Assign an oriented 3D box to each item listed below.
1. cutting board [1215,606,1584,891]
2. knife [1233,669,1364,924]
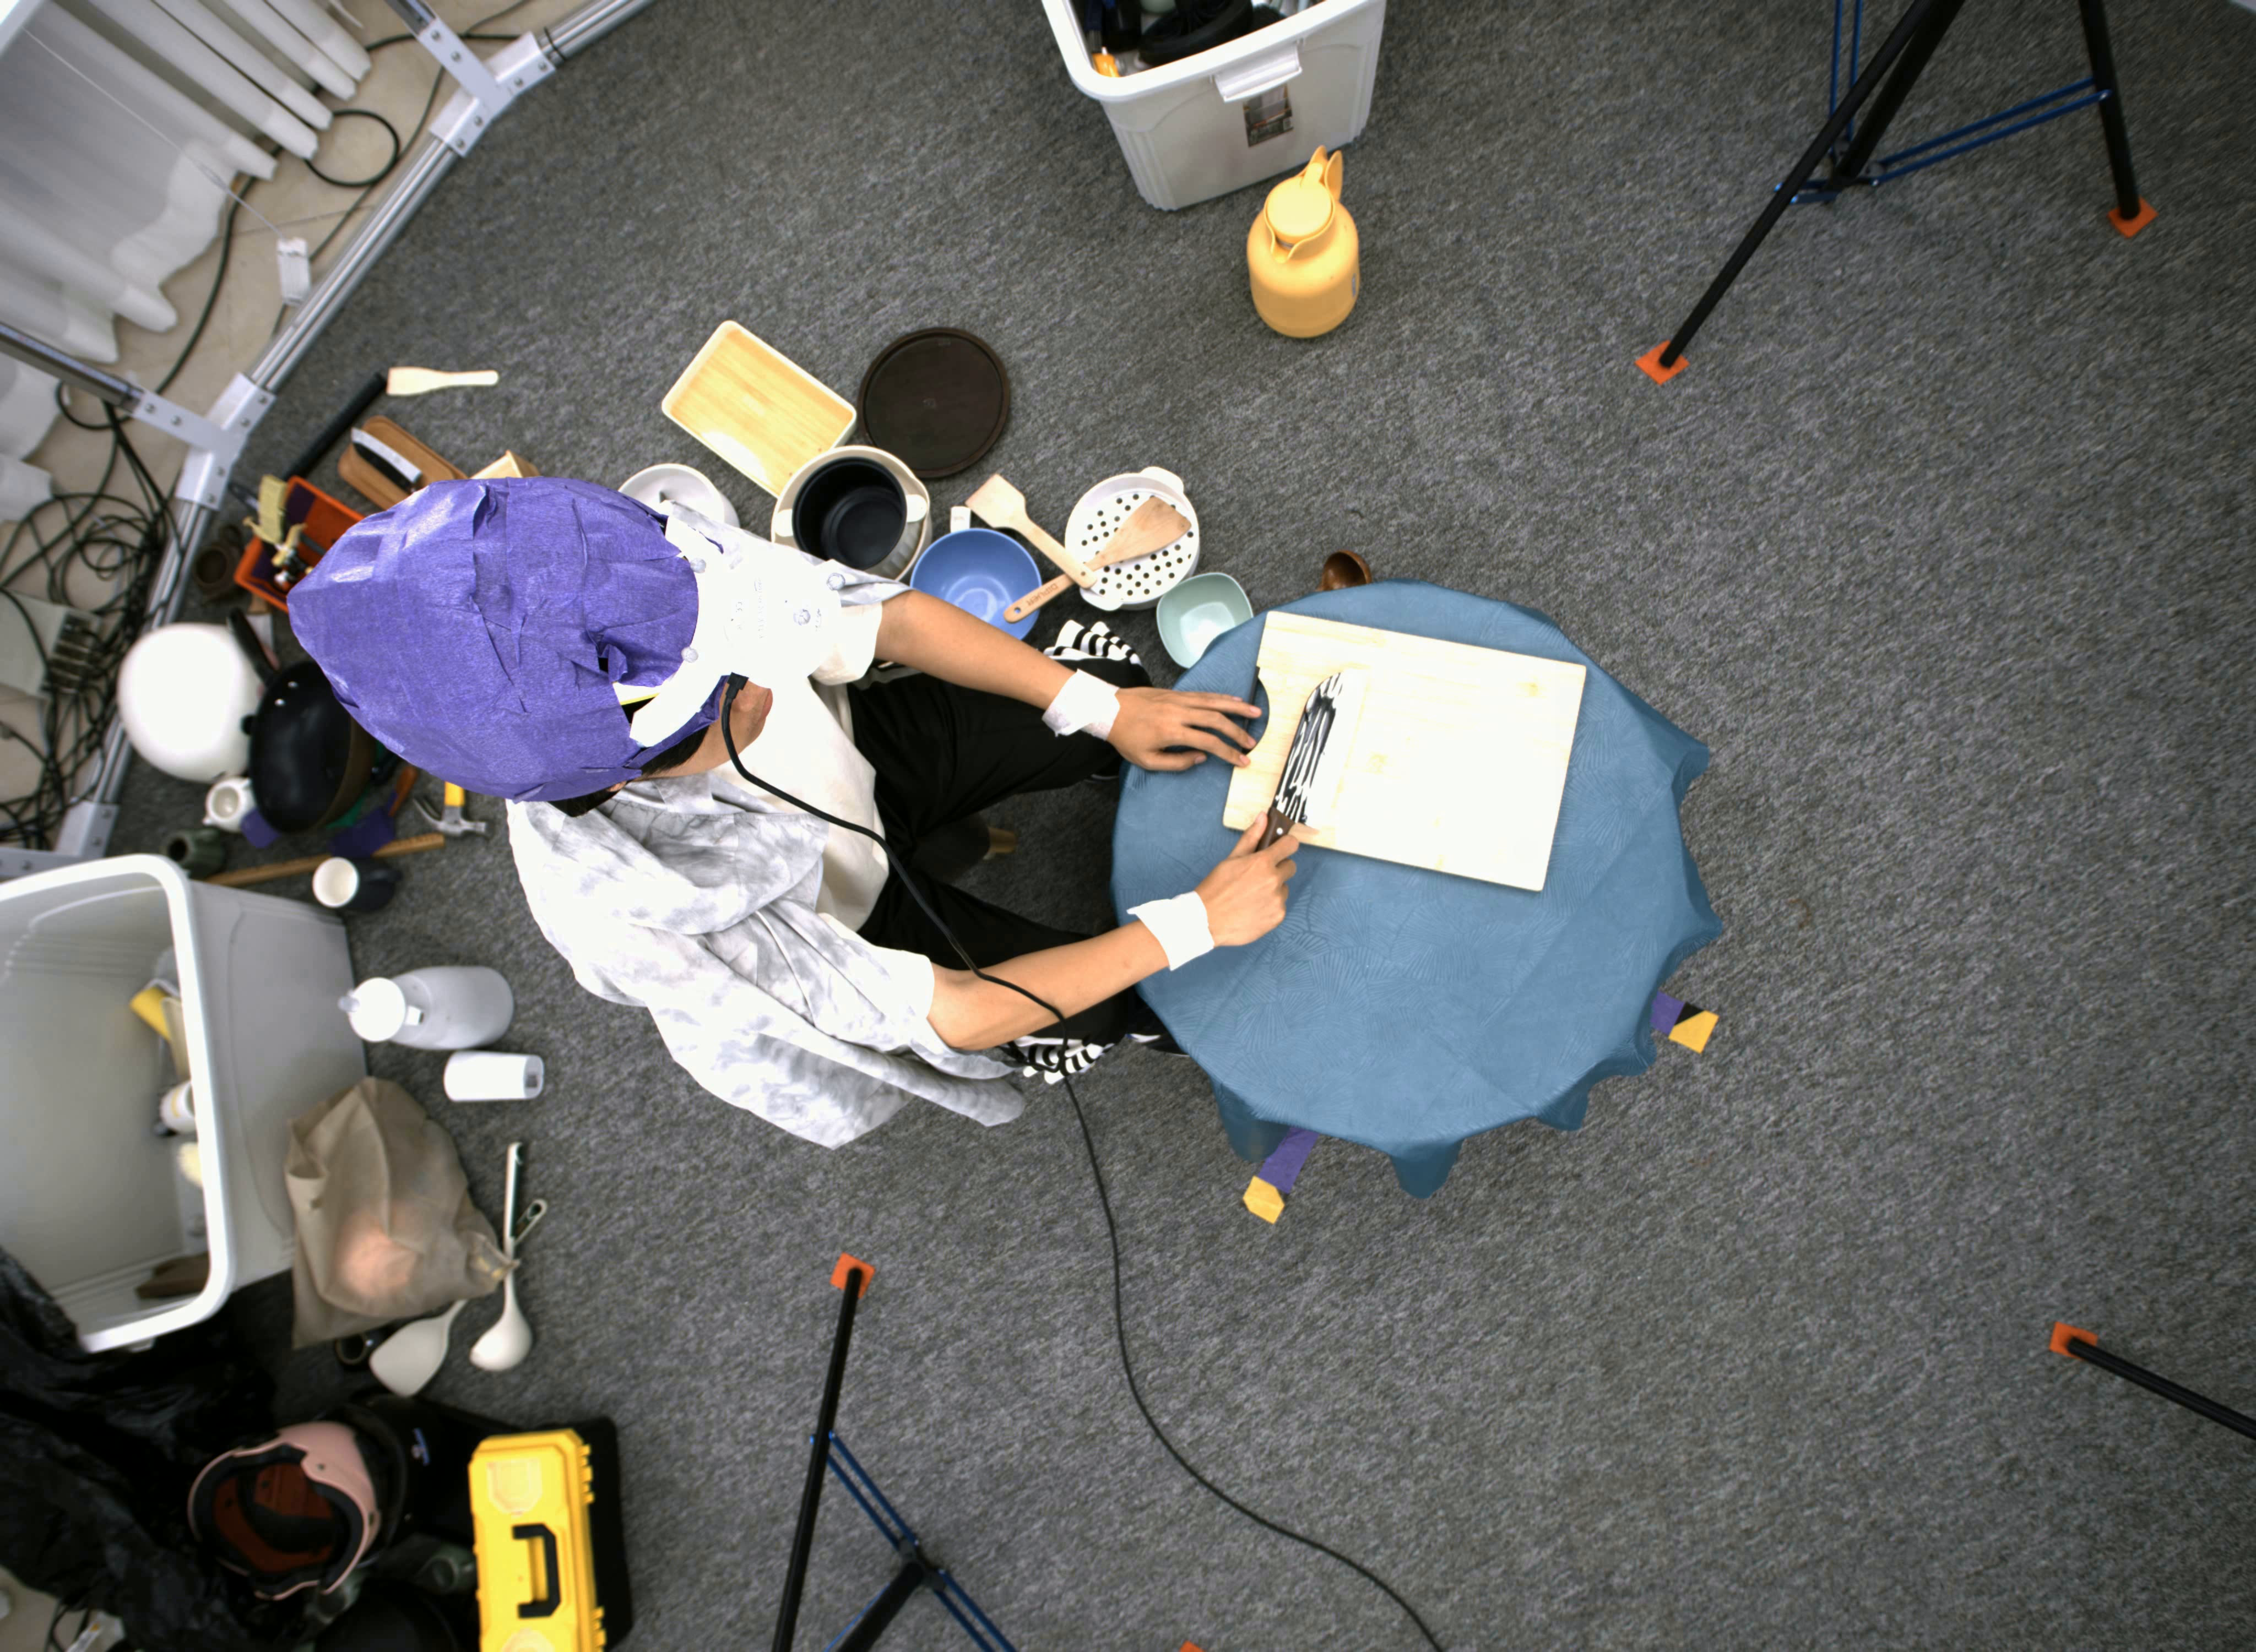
[{"bbox_3d":[0.284,-0.087,1.456,0.349,0.023,0.250,11,89,11],"label":"cutting board"},{"bbox_3d":[0.180,-0.032,1.425,0.068,0.024,0.298,22,85,-25],"label":"knife"}]
